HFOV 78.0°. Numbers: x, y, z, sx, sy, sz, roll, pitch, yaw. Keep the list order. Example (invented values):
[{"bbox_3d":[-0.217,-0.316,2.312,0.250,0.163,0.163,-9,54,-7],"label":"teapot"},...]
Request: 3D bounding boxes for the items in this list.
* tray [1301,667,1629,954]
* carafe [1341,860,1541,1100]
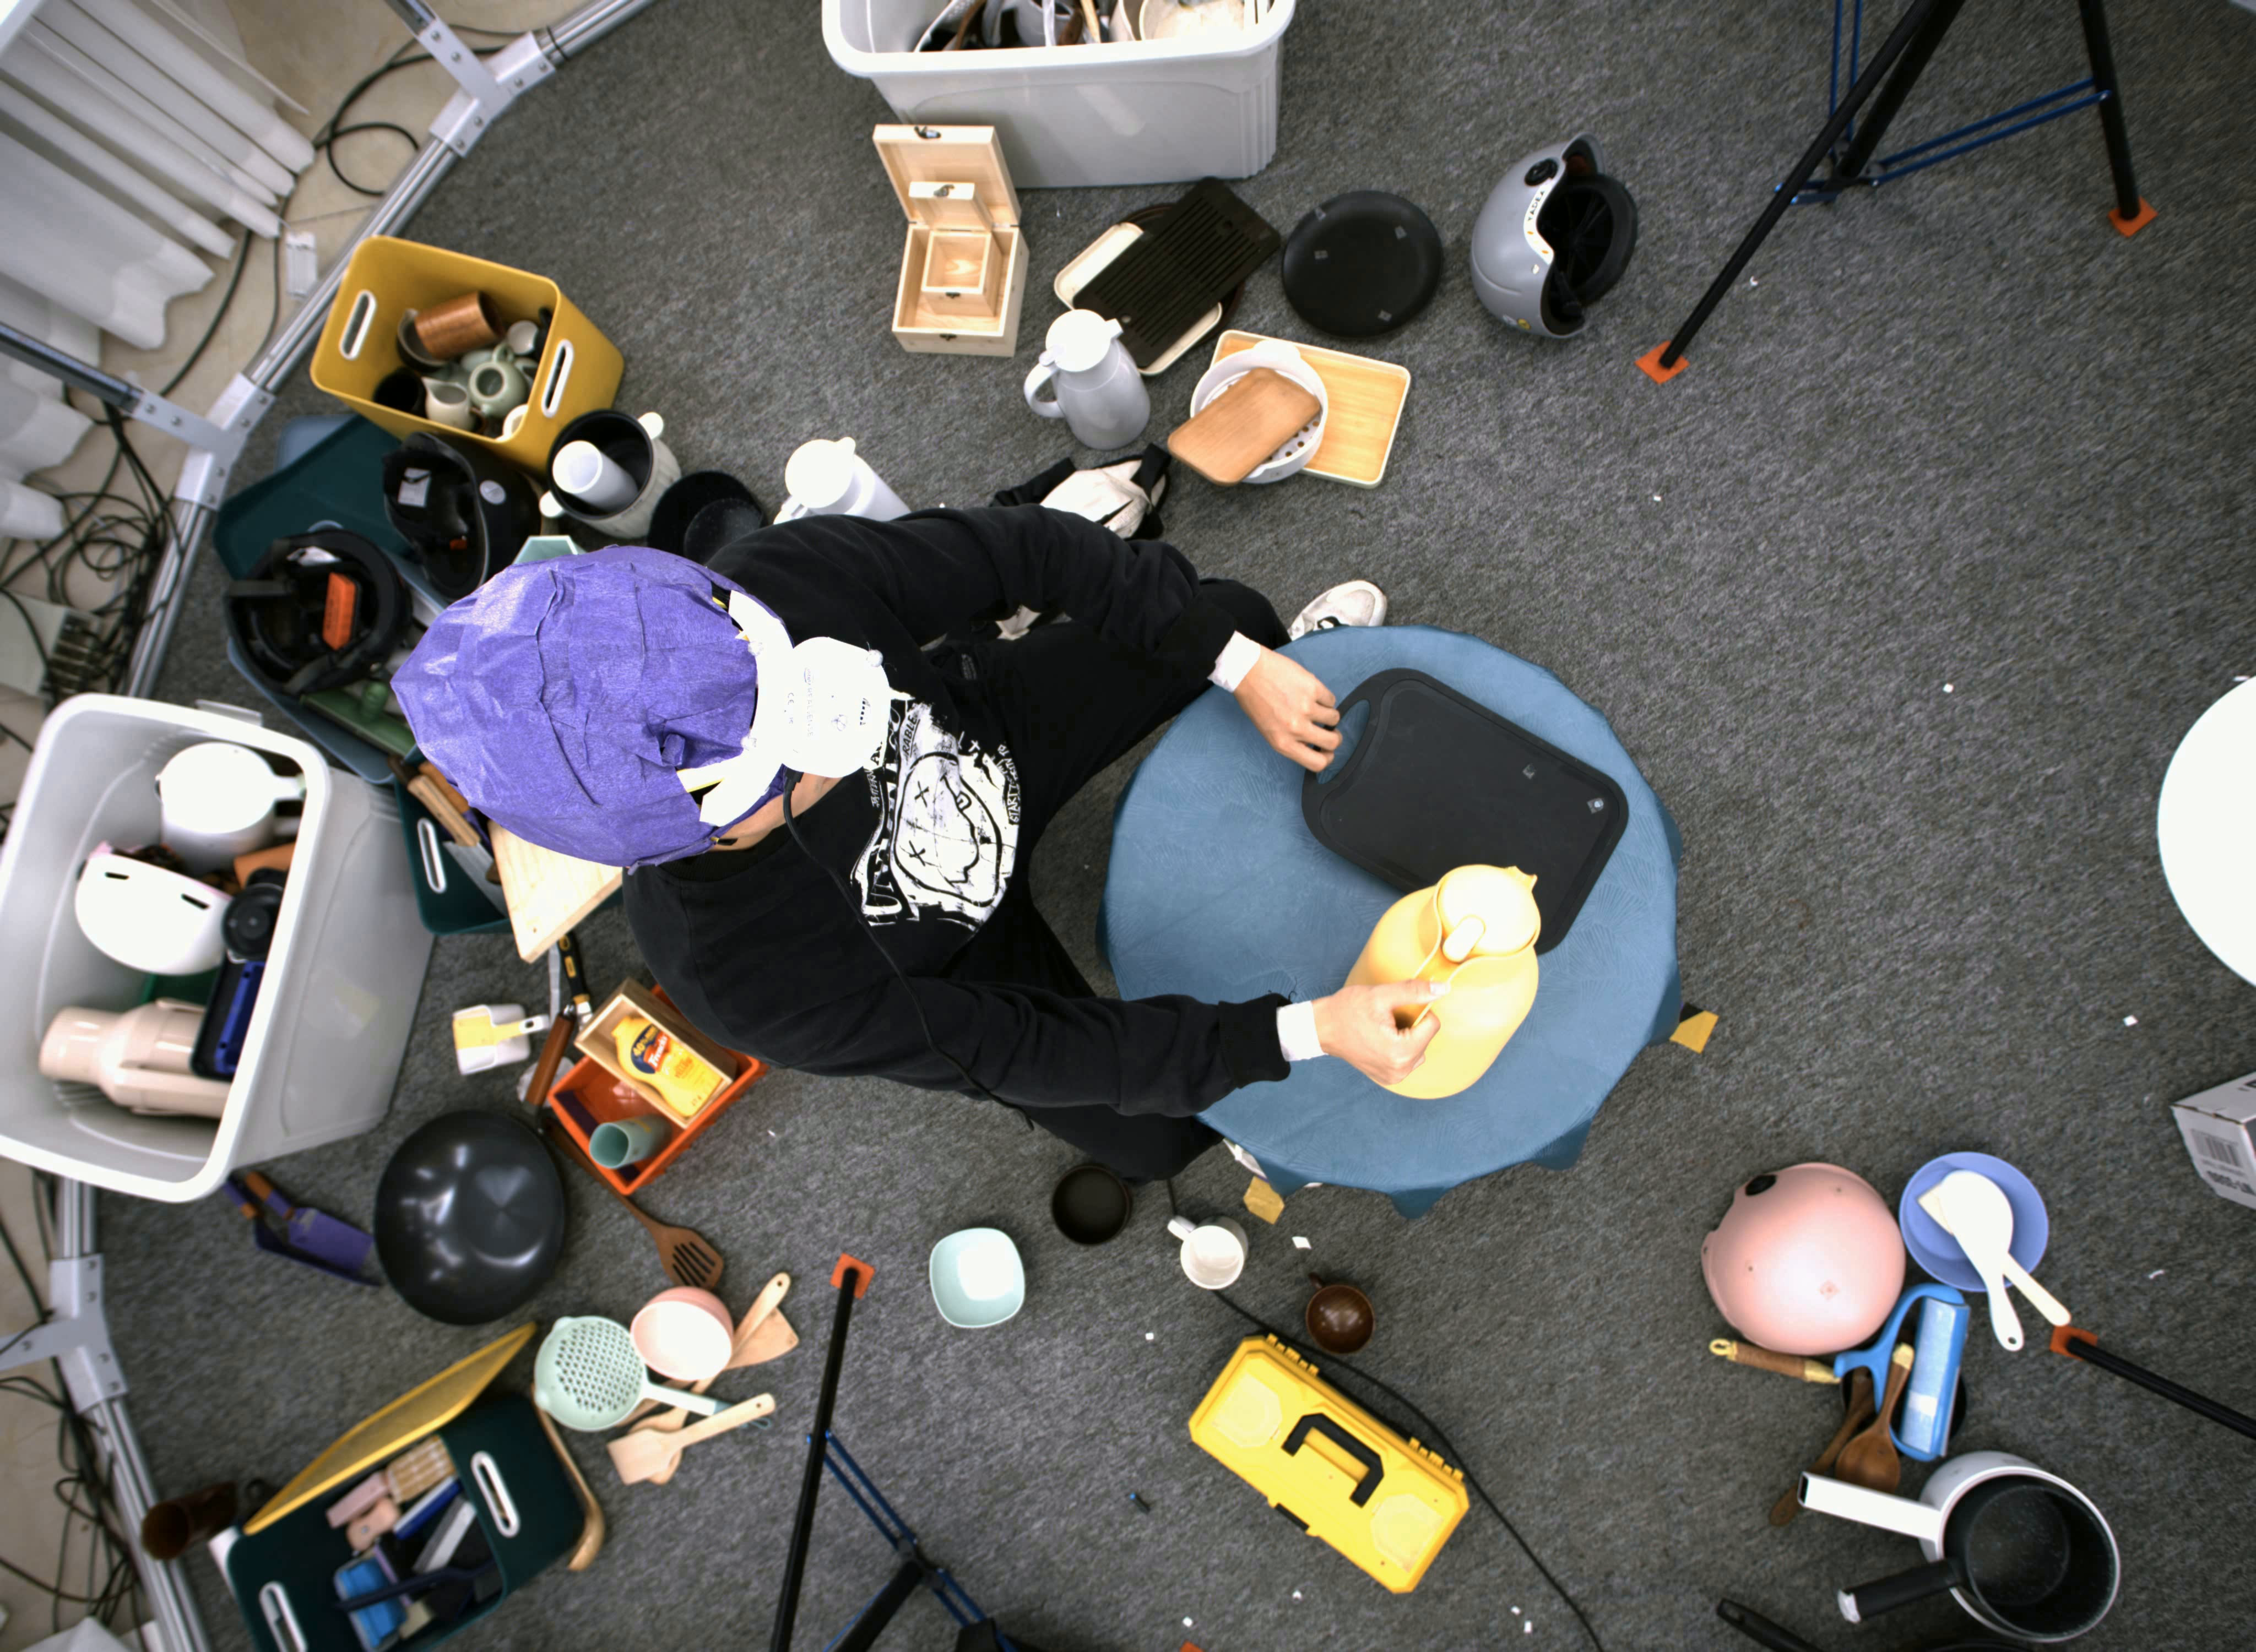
[{"bbox_3d":[0.343,-0.022,1.425,0.325,0.010,0.211,30,93,2],"label":"tray"},{"bbox_3d":[0.290,0.151,1.296,0.162,0.267,0.199,39,60,20],"label":"carafe"}]
